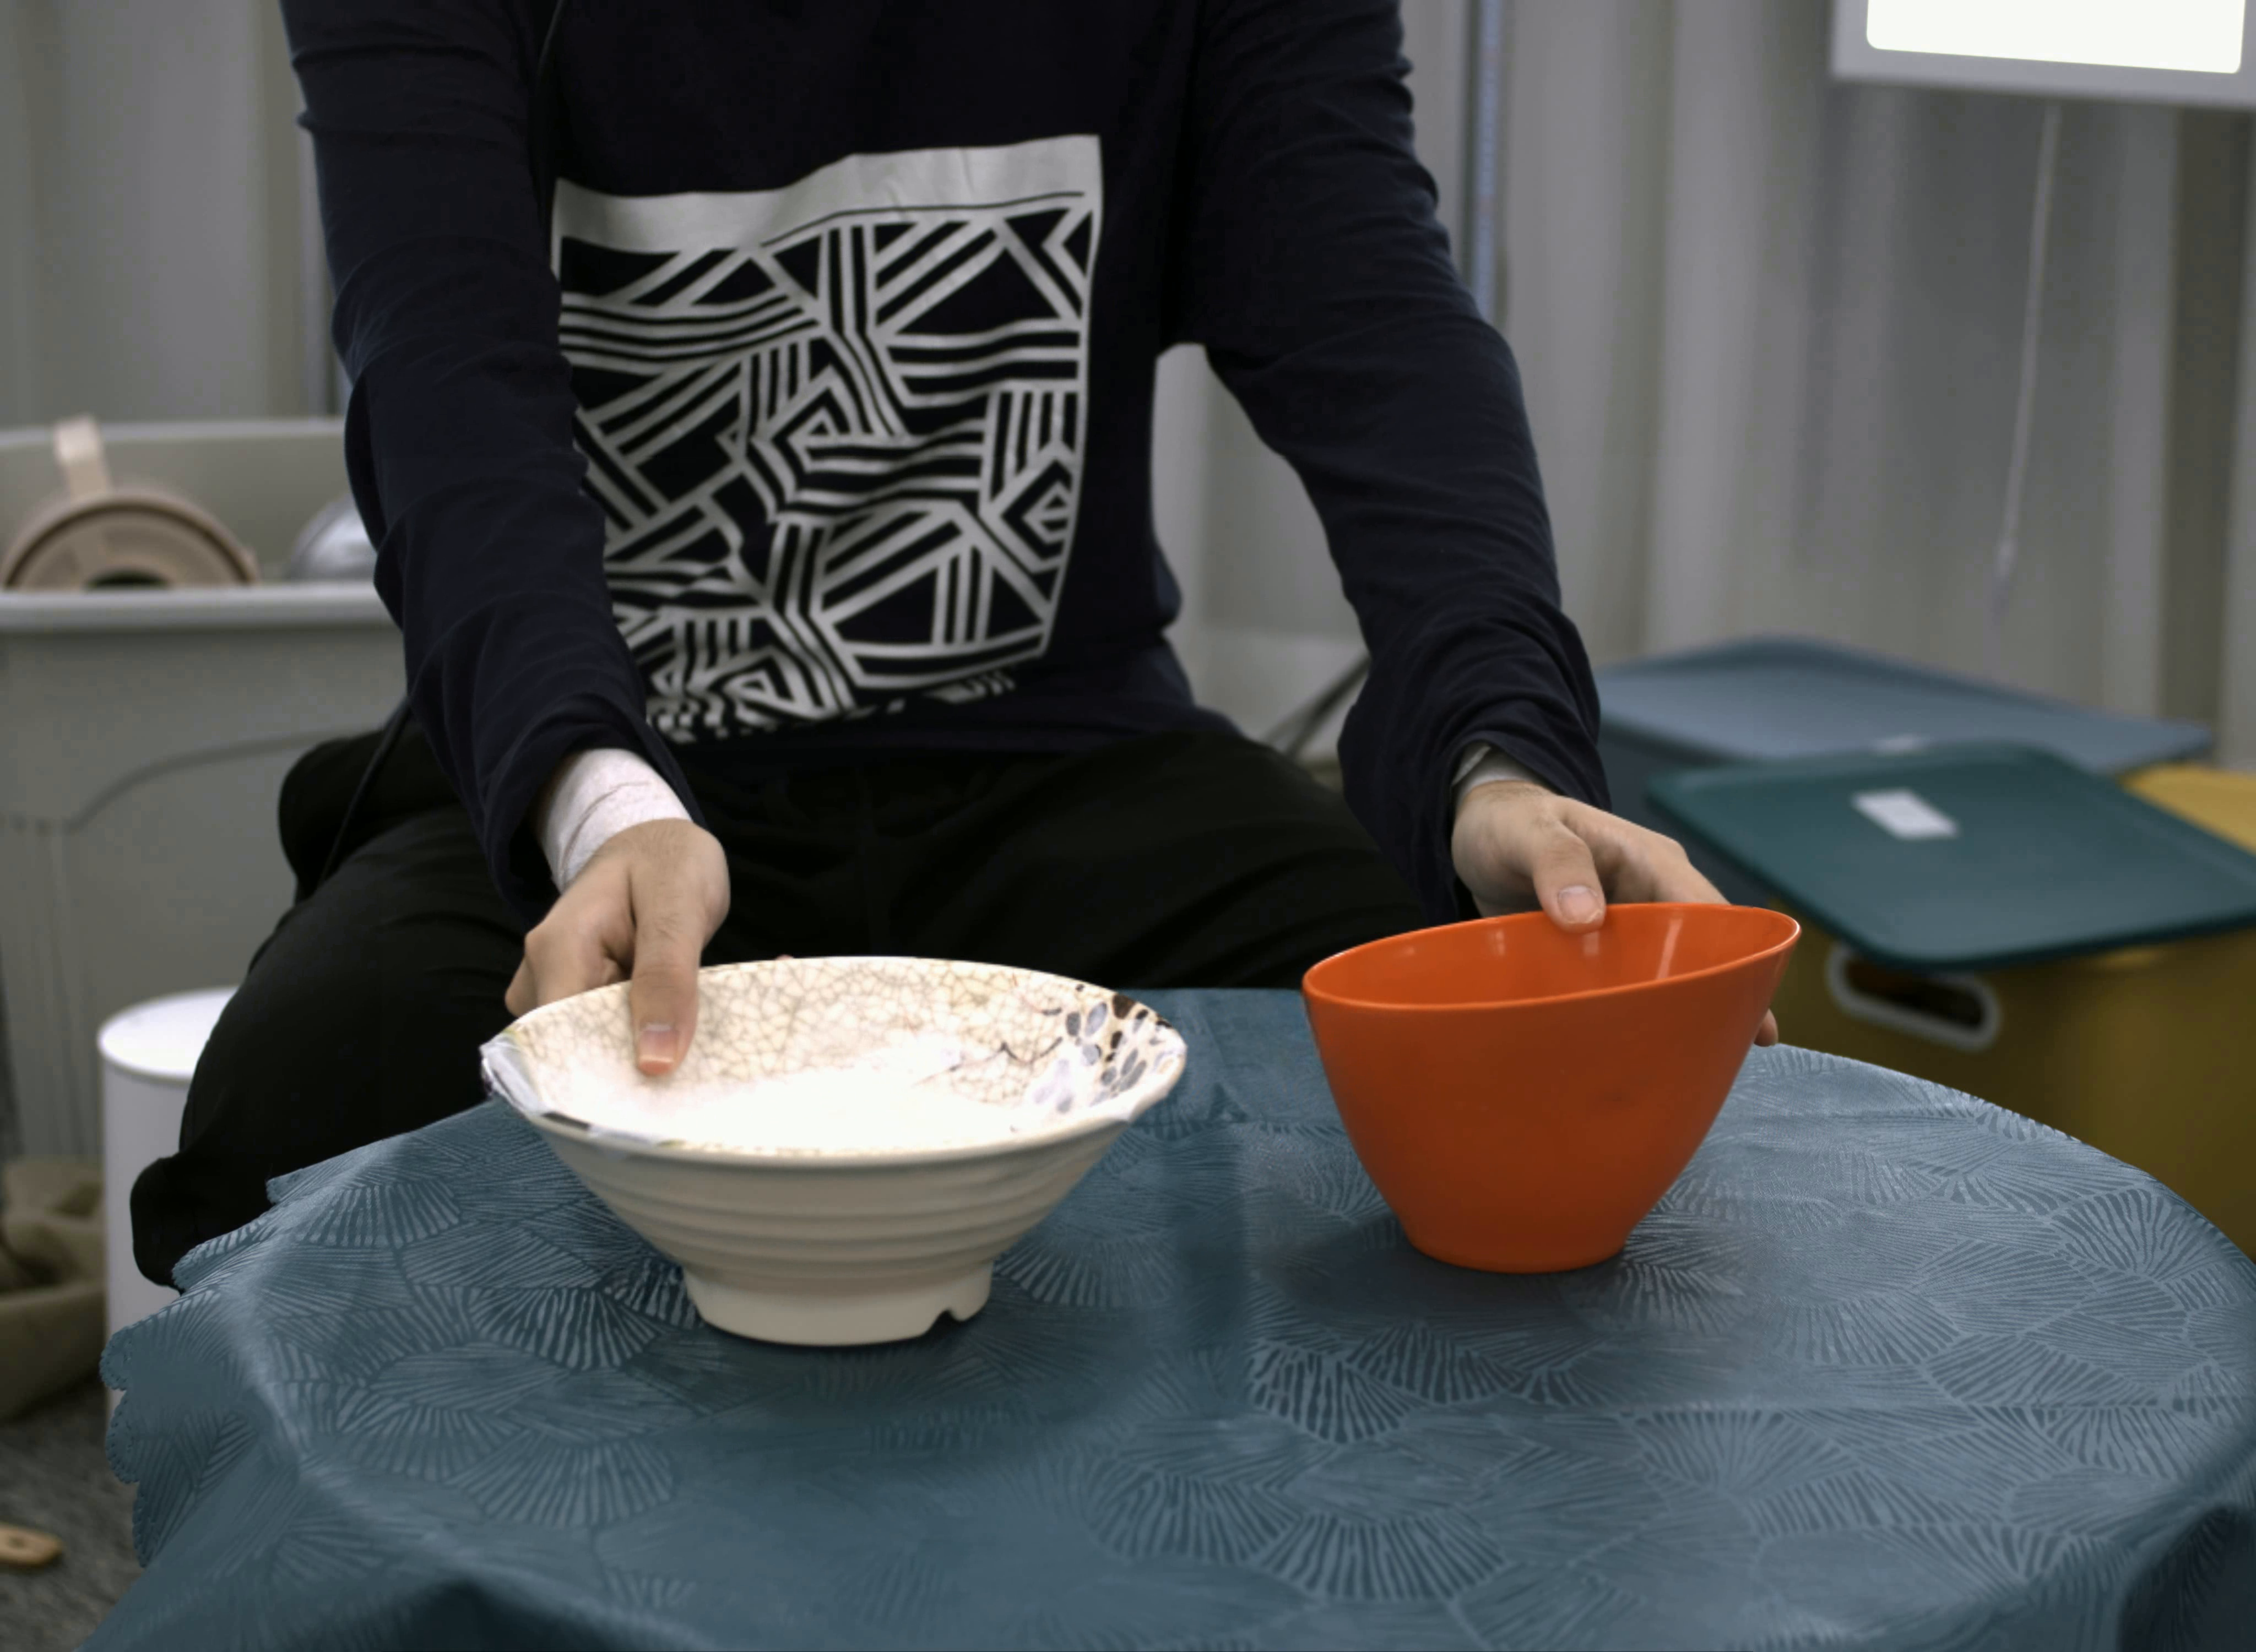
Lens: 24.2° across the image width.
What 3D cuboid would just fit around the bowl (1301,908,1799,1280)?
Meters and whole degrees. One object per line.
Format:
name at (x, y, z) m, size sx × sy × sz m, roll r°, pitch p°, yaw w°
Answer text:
bowl at (0.124, 0.078, 1.566) m, size 0.147 × 0.105 × 0.147 m, roll -1°, pitch 14°, yaw 1°

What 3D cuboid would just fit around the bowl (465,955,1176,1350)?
bowl at (-0.087, 0.100, 1.518) m, size 0.203 × 0.078 × 0.203 m, roll 0°, pitch 14°, yaw 0°
